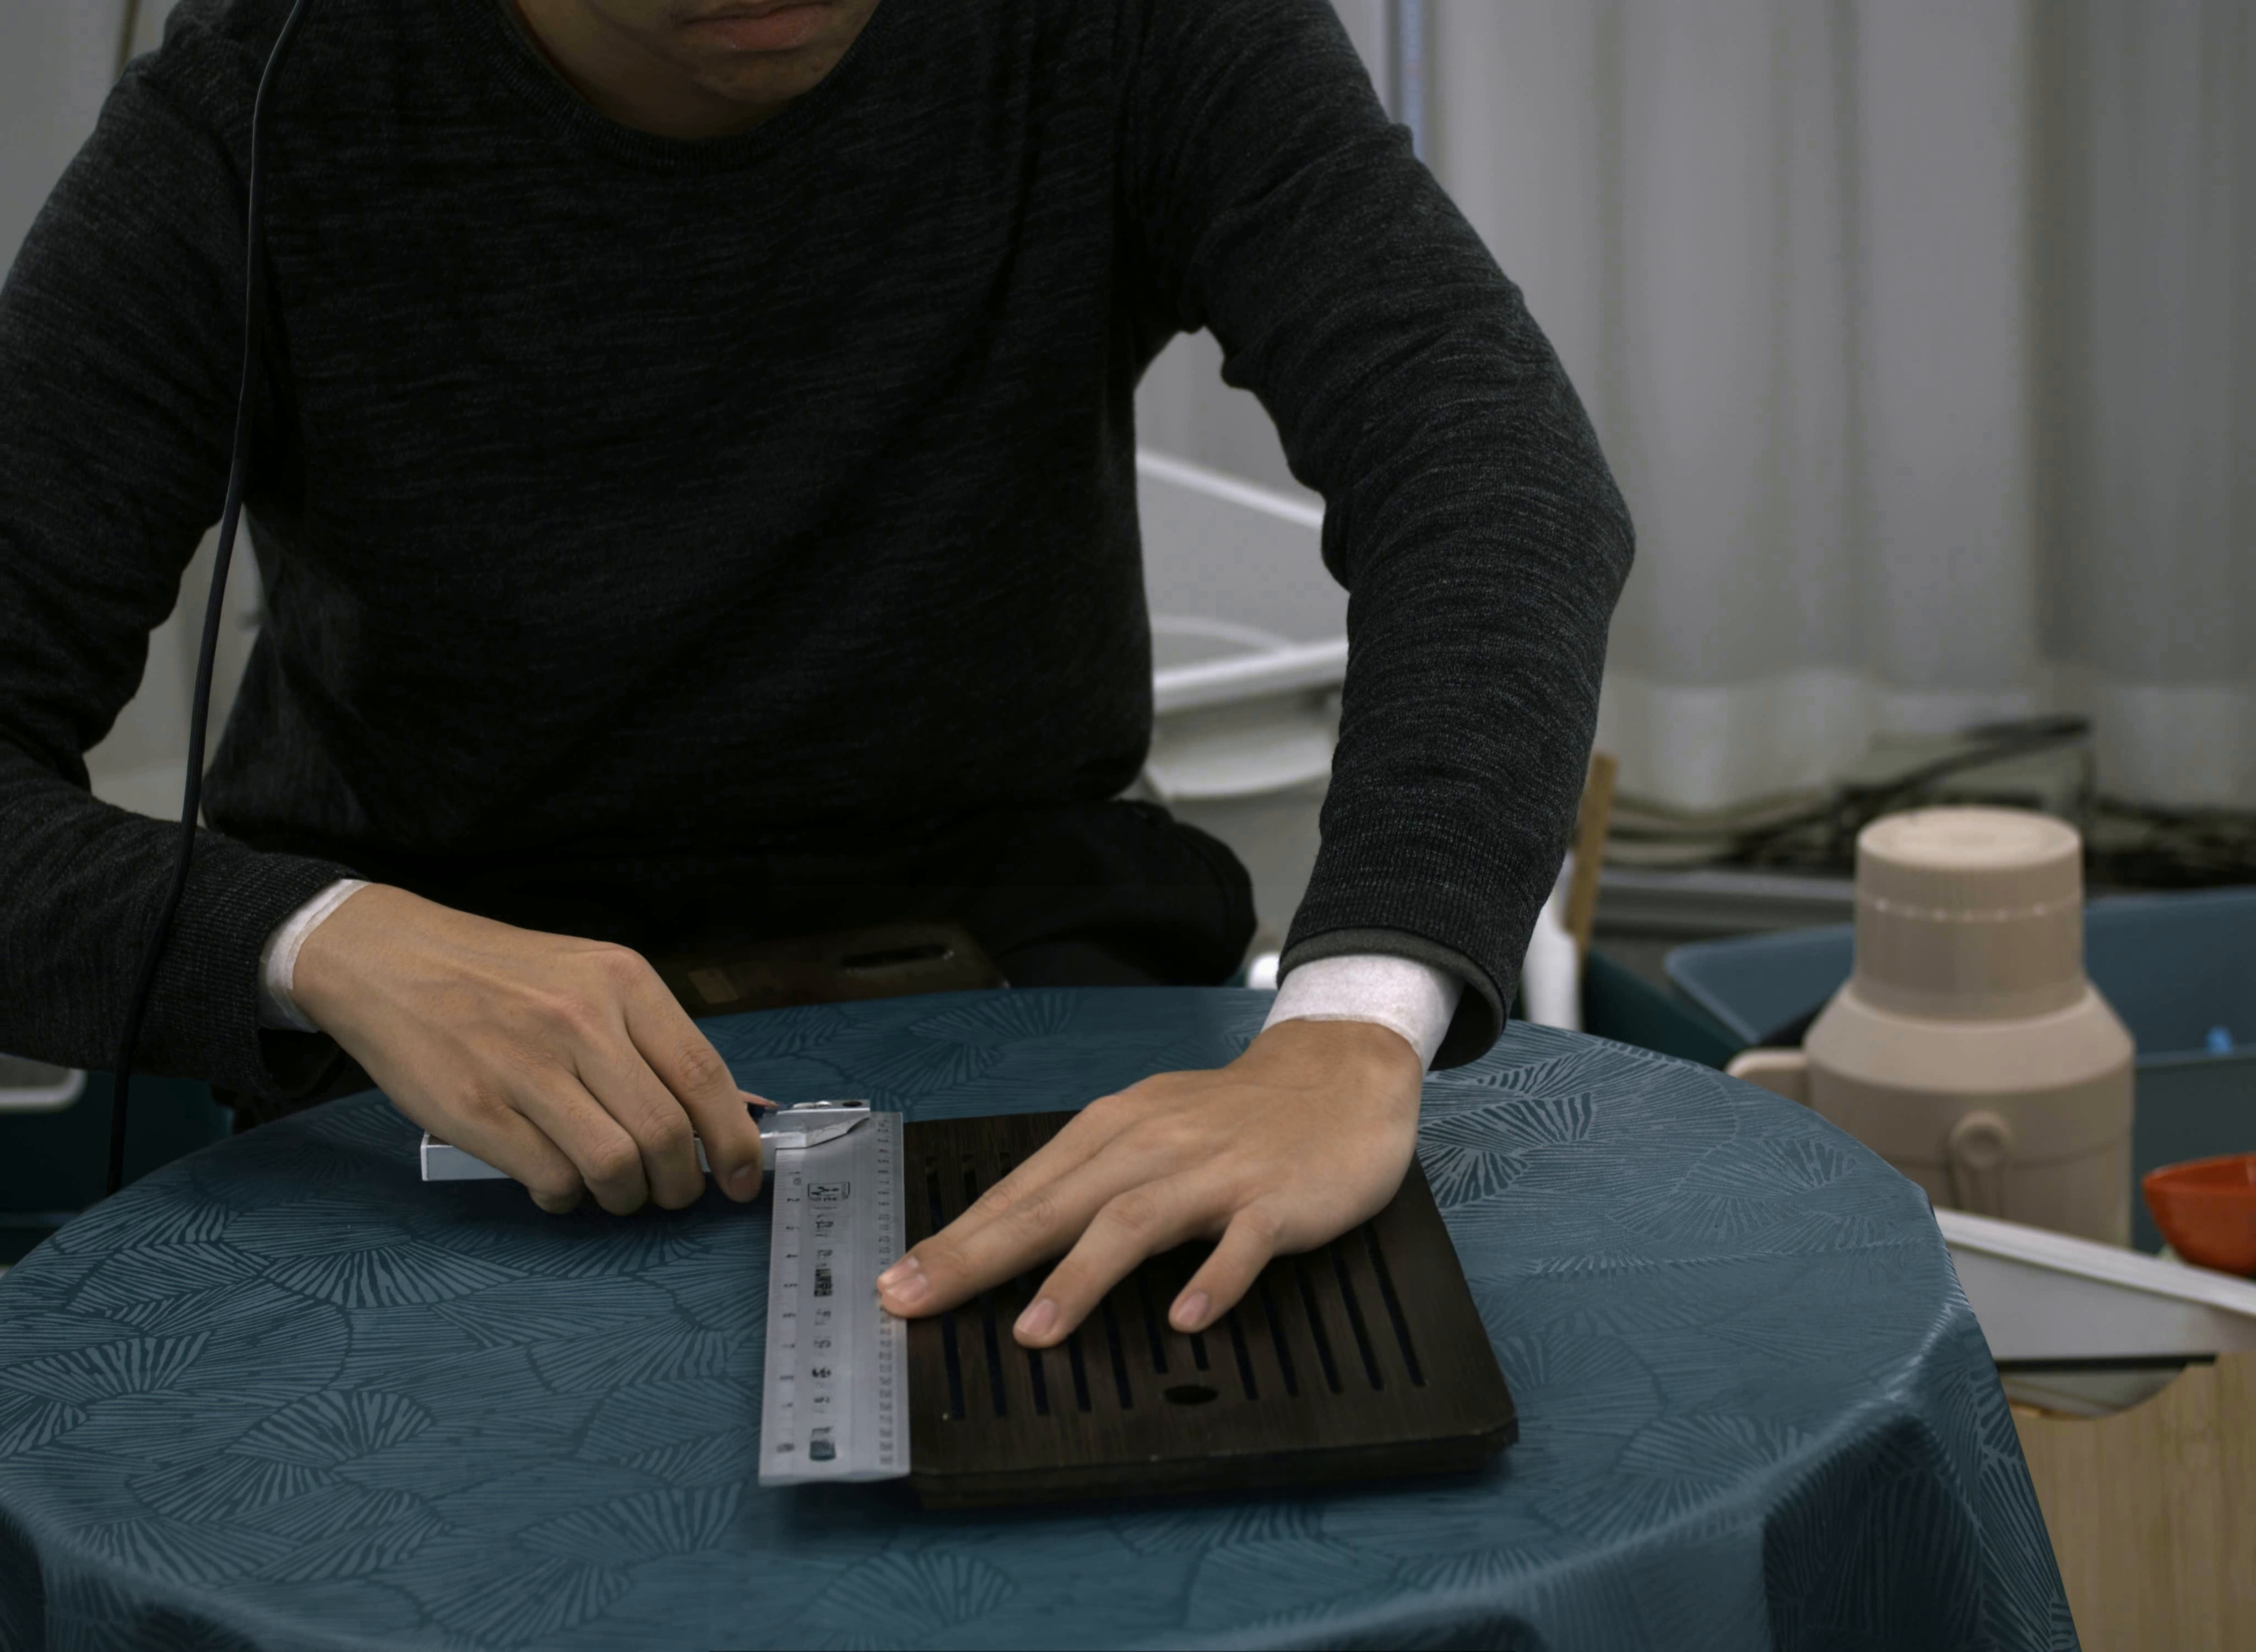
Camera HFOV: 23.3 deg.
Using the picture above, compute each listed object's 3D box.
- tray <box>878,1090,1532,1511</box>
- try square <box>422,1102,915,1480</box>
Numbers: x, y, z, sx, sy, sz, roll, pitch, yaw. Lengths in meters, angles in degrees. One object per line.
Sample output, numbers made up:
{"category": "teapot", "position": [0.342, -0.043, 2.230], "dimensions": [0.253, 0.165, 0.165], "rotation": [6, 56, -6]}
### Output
{"category": "tray", "position": [0.015, 0.135, 1.598], "dimensions": [0.169, 0.018, 0.308], "rotation": [-4, 15, -3]}
{"category": "try square", "position": [-0.139, 0.133, 1.594], "dimensions": [0.152, 0.016, 0.315], "rotation": [-1, 15, -3]}
